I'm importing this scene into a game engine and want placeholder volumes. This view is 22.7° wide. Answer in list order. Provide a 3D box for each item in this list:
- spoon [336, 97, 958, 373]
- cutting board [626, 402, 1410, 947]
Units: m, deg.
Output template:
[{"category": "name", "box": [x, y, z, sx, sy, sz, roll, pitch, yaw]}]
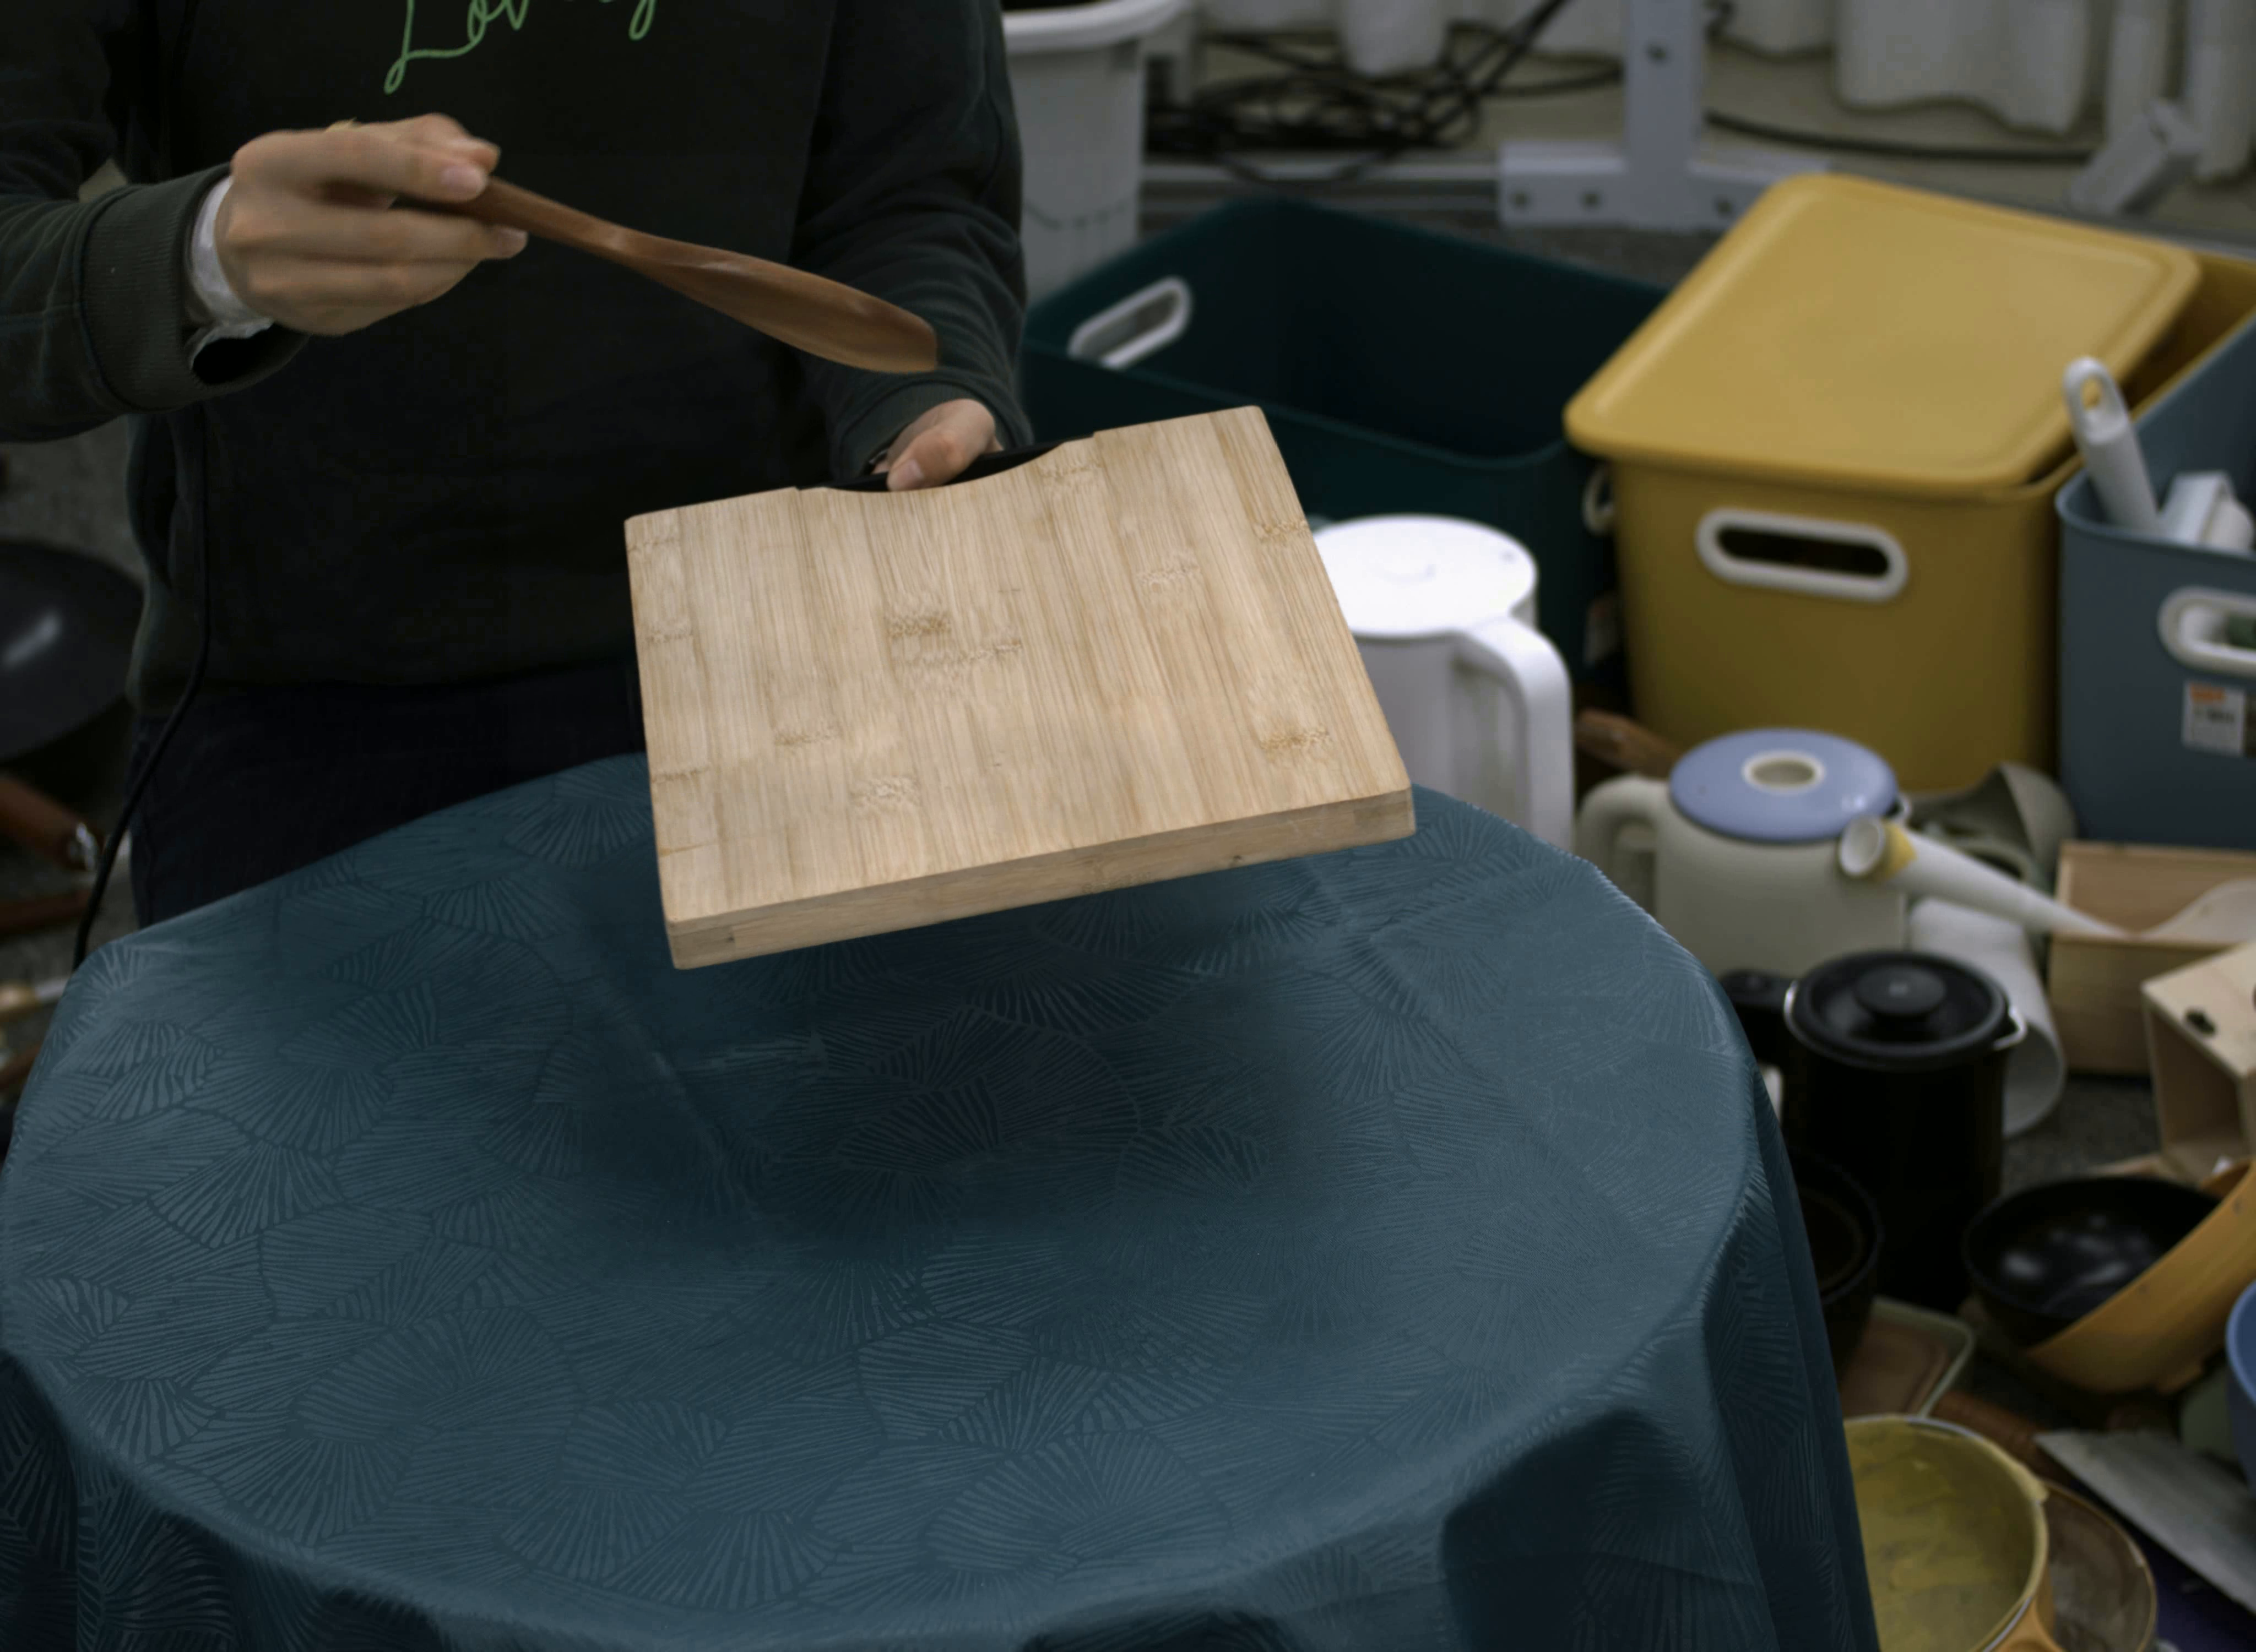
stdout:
[{"category": "spoon", "box": [-0.156, -0.188, 1.826, 0.215, 0.017, 0.075, 22, -3, 3]}, {"category": "cutting board", "box": [-0.047, -0.057, 1.931, 0.250, 0.023, 0.353, -9, 25, -4]}]
